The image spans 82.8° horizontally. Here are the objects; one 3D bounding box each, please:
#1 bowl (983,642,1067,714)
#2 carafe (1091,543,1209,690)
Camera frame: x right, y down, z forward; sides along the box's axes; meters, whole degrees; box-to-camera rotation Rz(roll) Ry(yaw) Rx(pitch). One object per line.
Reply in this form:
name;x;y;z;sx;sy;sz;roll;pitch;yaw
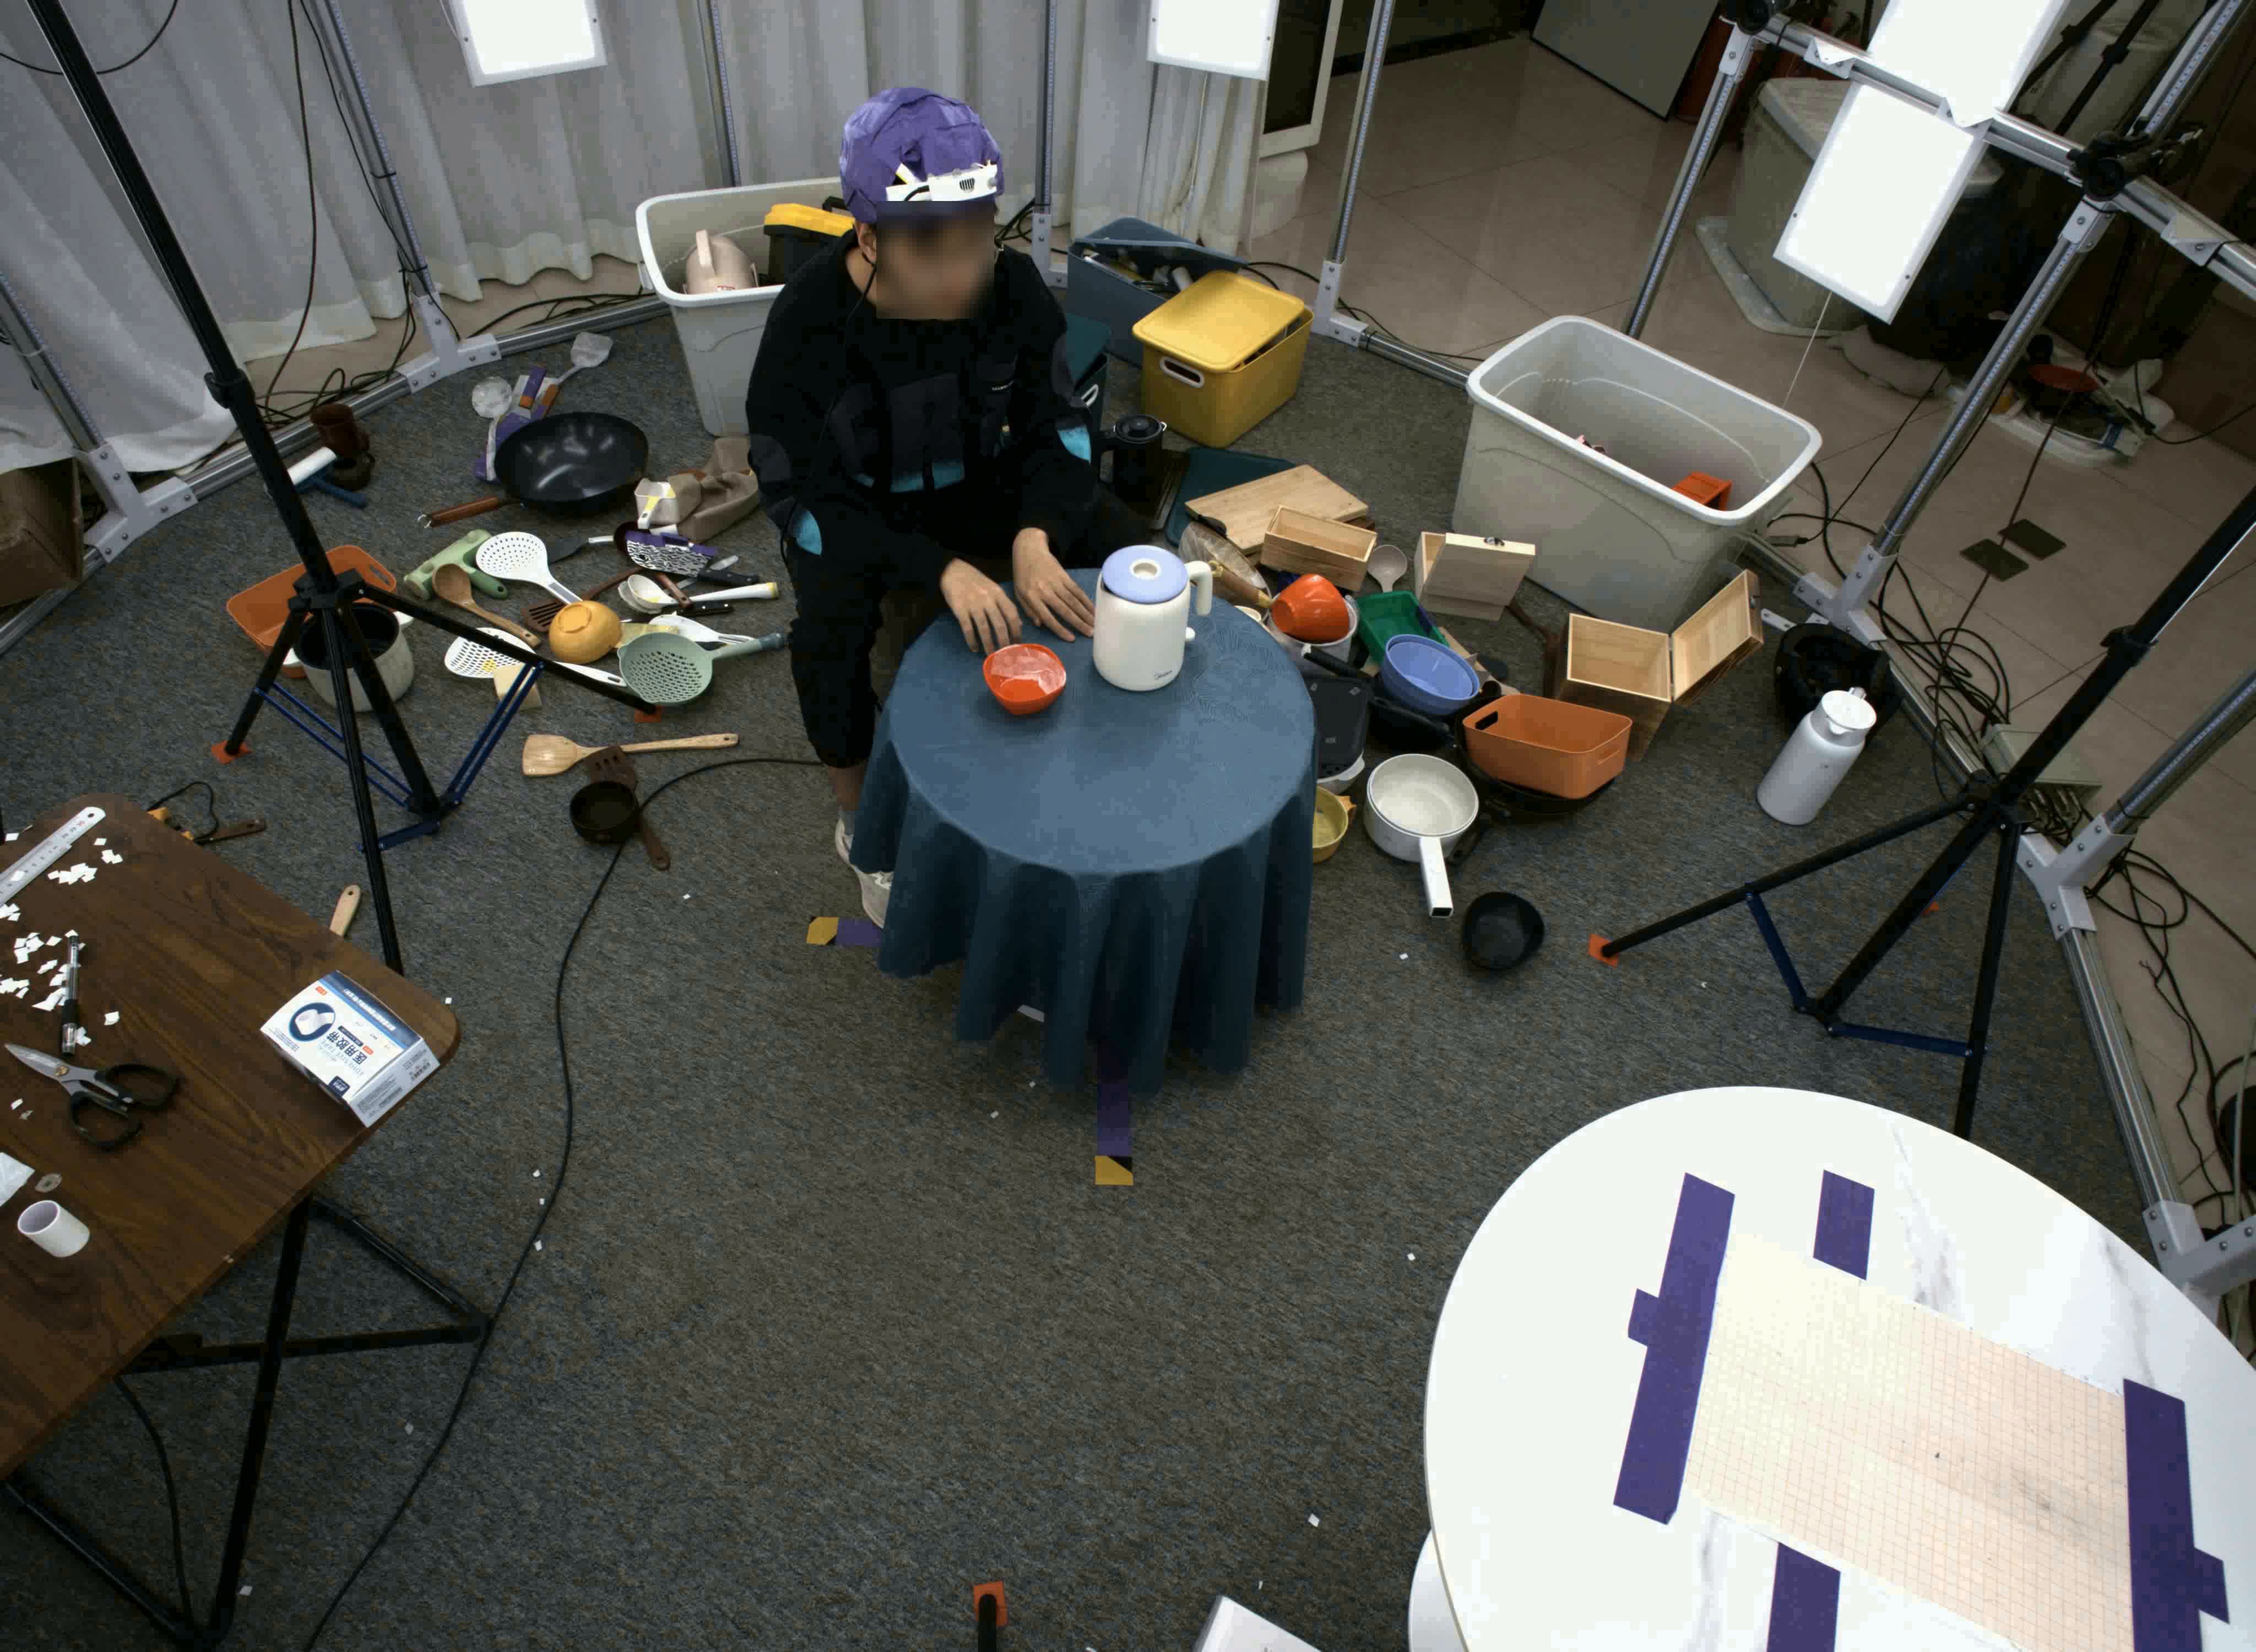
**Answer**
bowl;-0.144;-0.201;1.798;0.119;0.050;0.122;1;52;-2
carafe;0.037;-0.303;1.824;0.192;0.178;0.135;-24;56;-25
